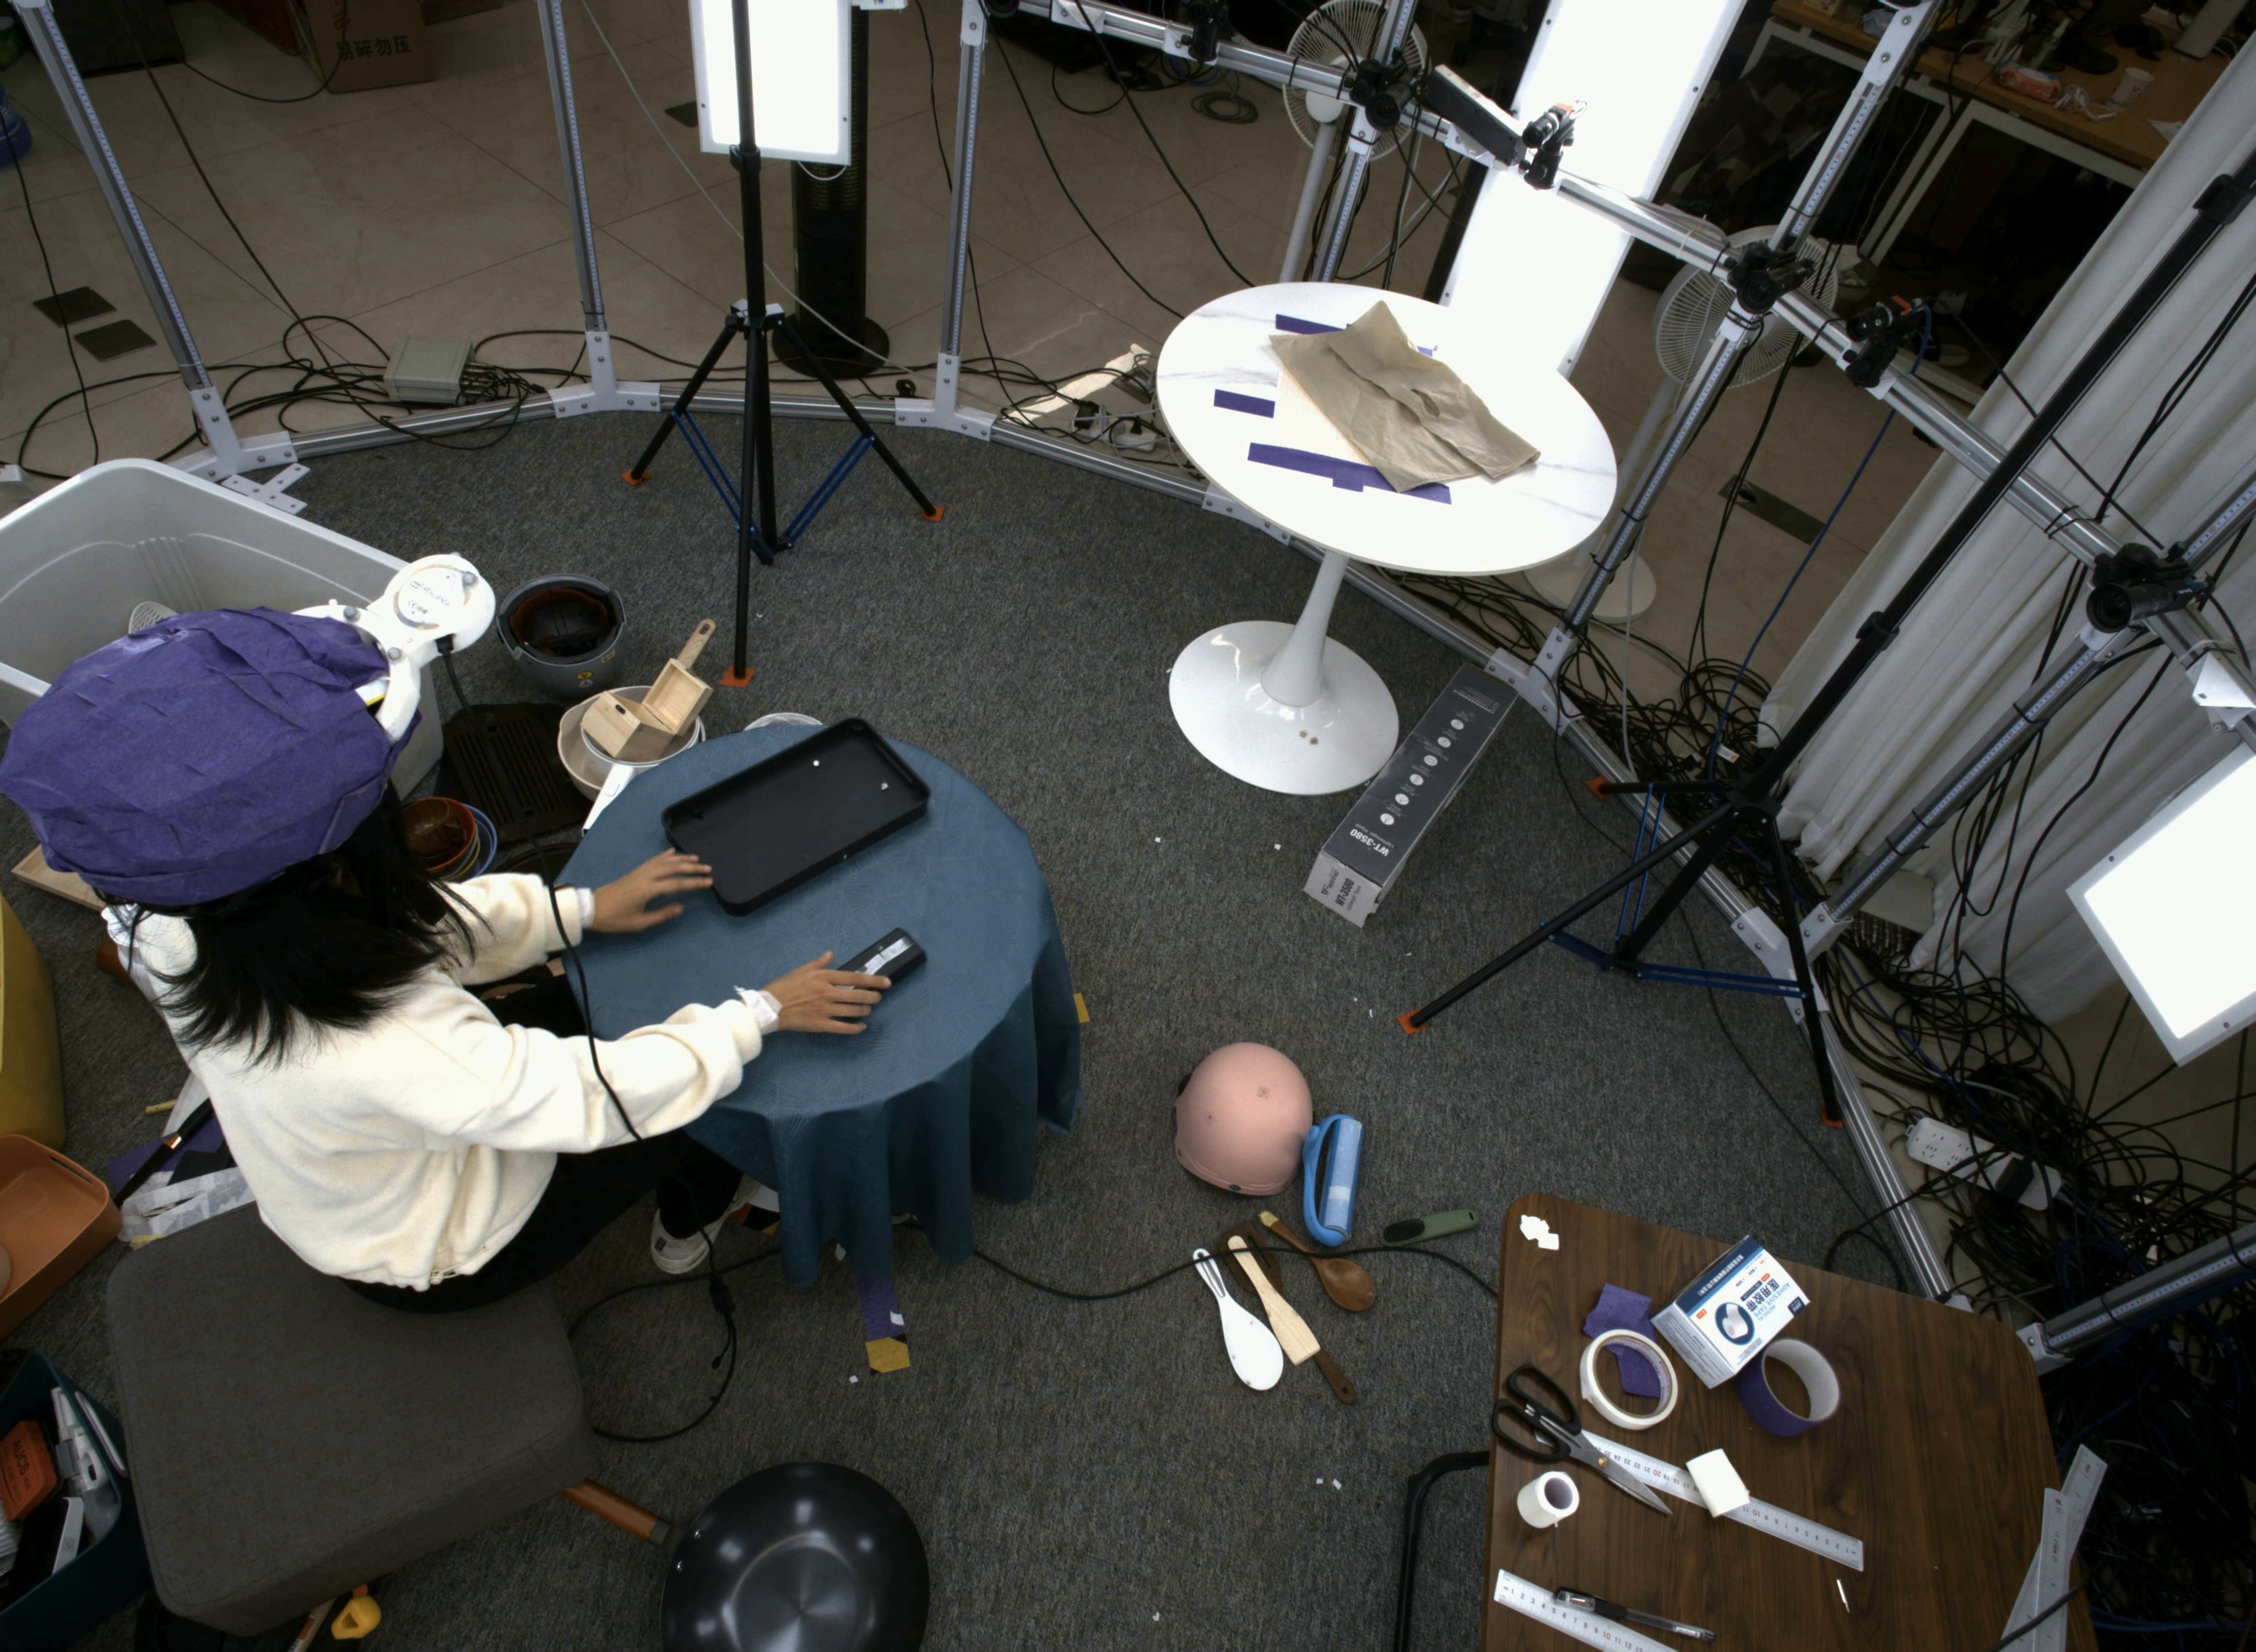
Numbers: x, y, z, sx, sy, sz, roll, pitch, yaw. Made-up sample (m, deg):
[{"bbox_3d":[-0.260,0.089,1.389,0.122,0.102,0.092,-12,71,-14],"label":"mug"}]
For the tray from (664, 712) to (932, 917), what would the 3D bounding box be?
[{"bbox_3d":[-0.431,-0.022,1.710,0.319,0.038,0.180,-34,68,-32],"label":"tray"}]

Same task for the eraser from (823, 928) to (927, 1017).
[{"bbox_3d":[-0.310,0.176,1.599,0.052,0.031,0.126,38,53,21],"label":"eraser"}]
